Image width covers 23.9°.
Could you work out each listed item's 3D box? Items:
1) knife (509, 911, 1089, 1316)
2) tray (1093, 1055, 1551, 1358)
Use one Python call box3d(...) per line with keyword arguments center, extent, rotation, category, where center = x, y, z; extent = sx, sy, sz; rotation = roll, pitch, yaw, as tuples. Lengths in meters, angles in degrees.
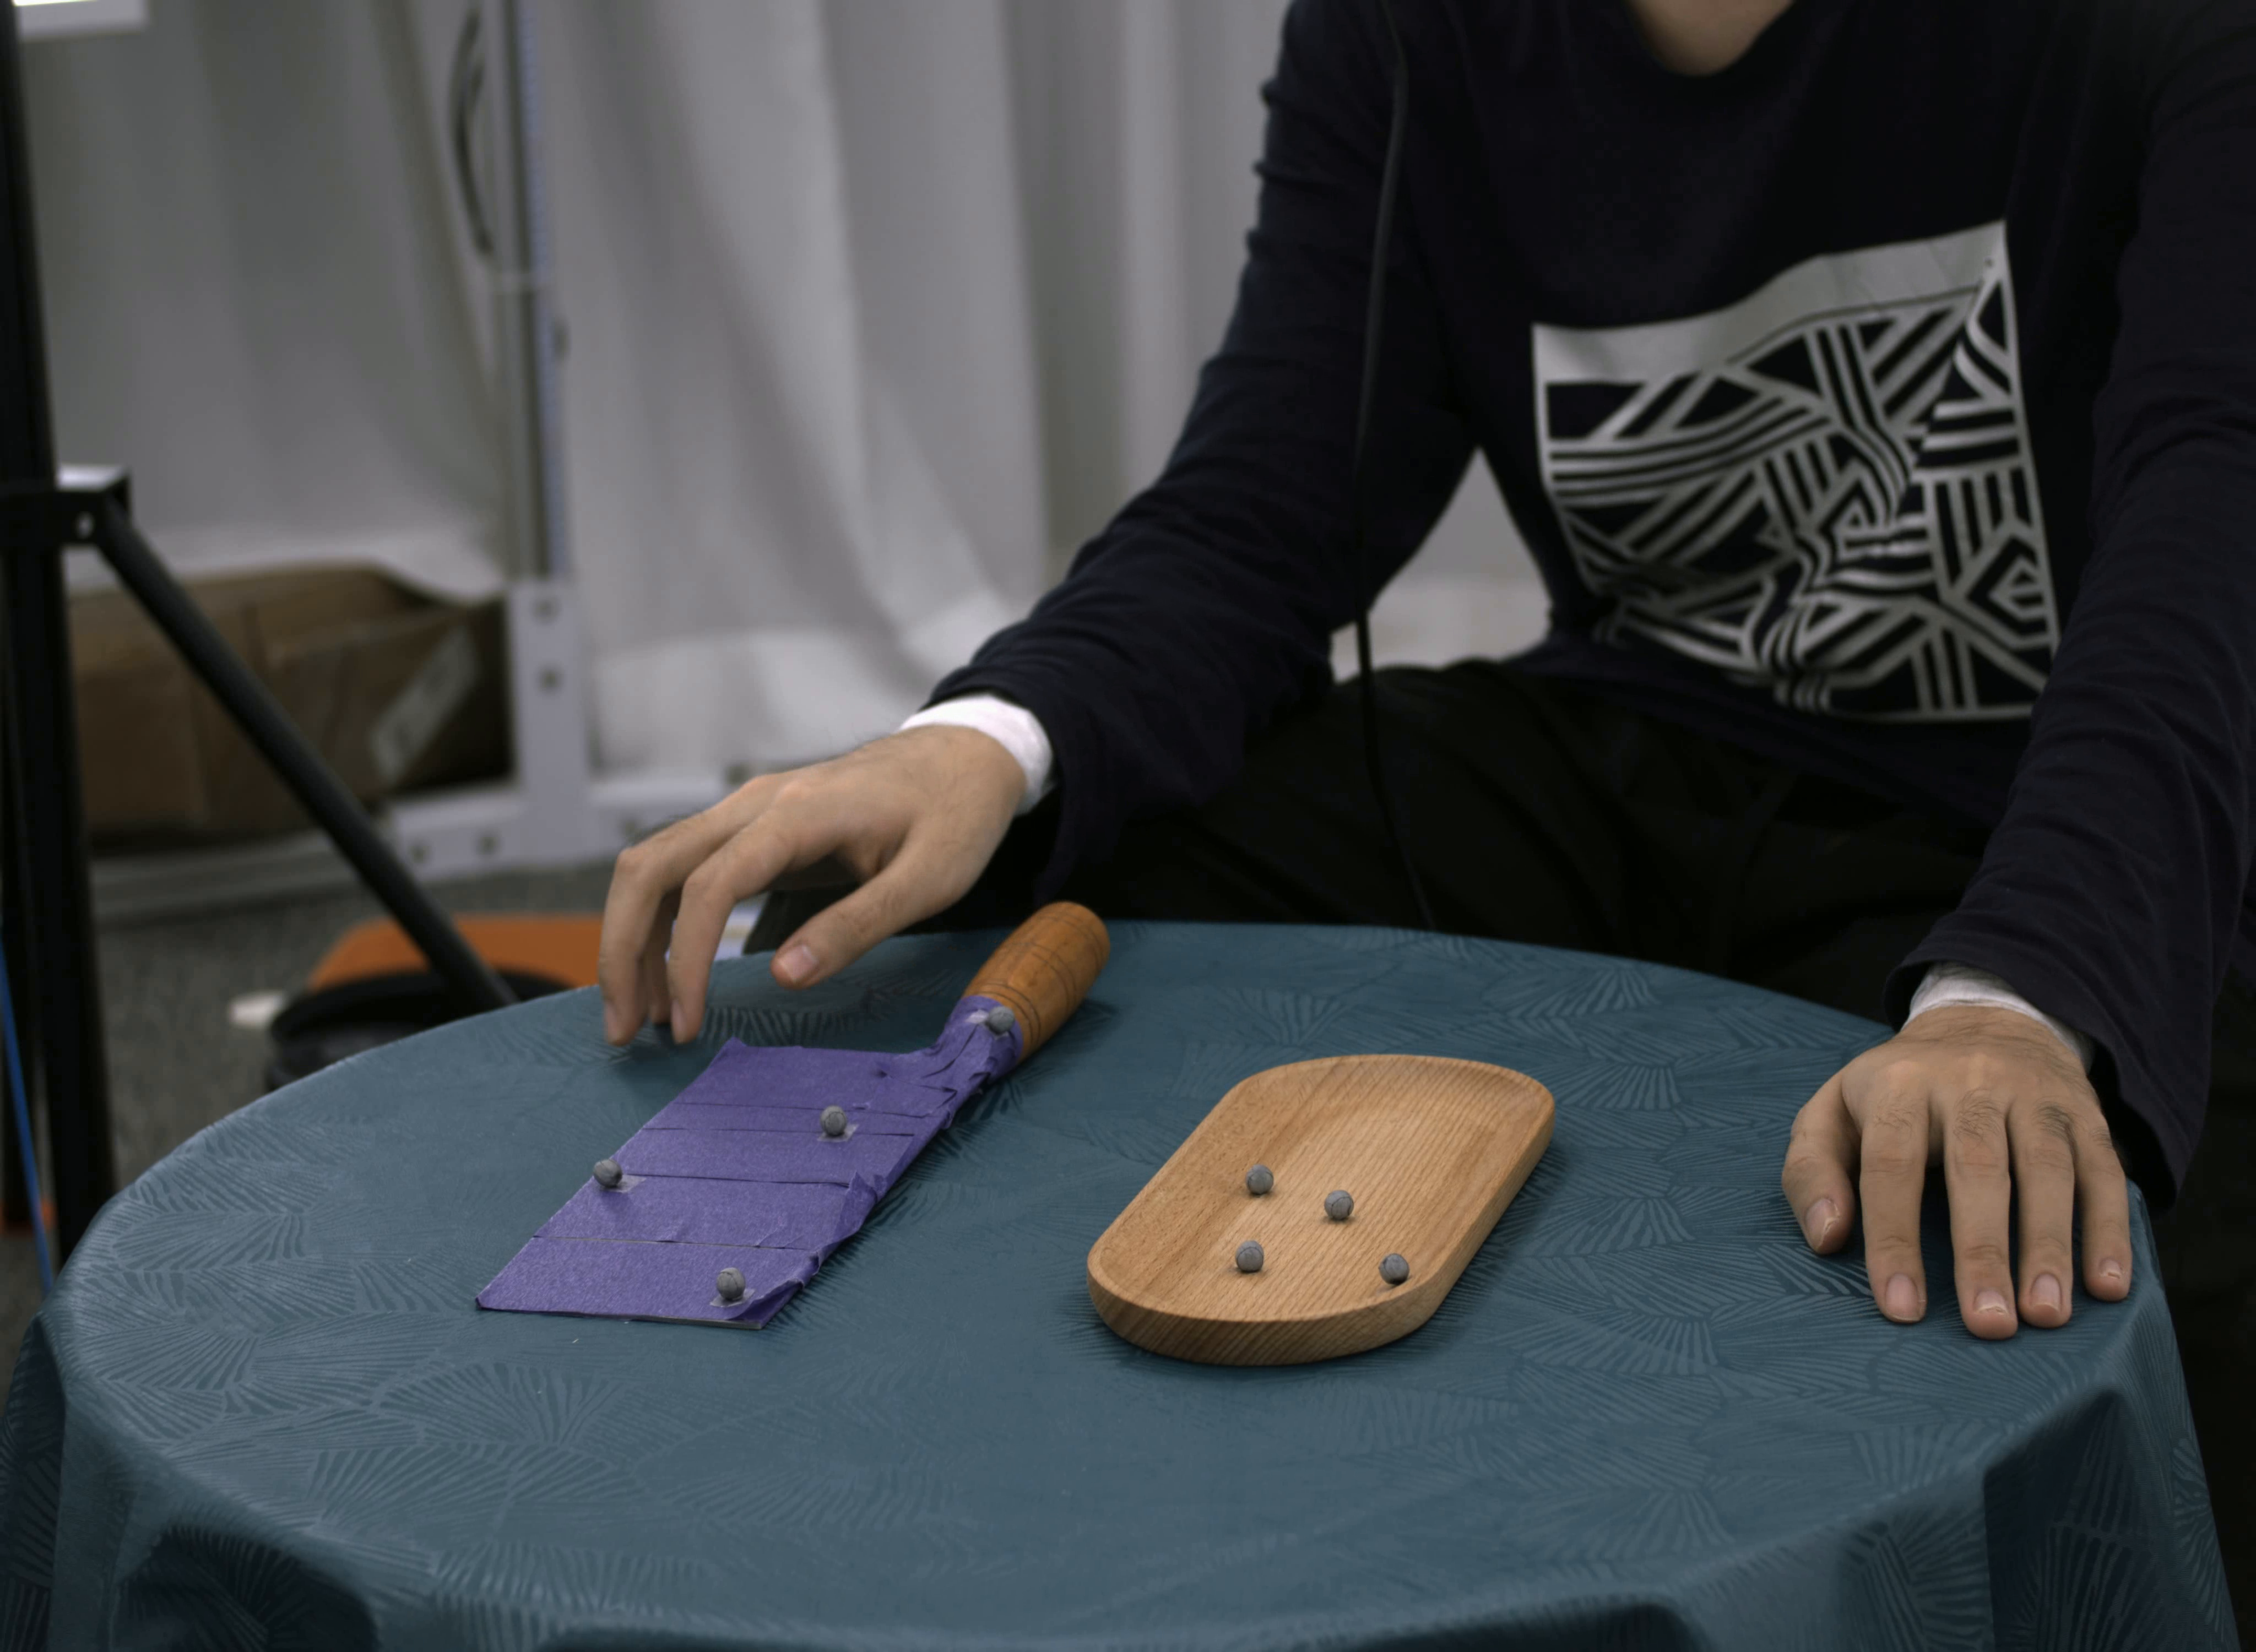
box3d(center=(-0.096, 0.083, 1.614), extent=(0.105, 0.032, 0.312), rotation=(3, 17, 16), category="knife")
box3d(center=(0.059, 0.107, 1.527), extent=(0.102, 0.020, 0.229), rotation=(3, 15, 16), category="tray")
